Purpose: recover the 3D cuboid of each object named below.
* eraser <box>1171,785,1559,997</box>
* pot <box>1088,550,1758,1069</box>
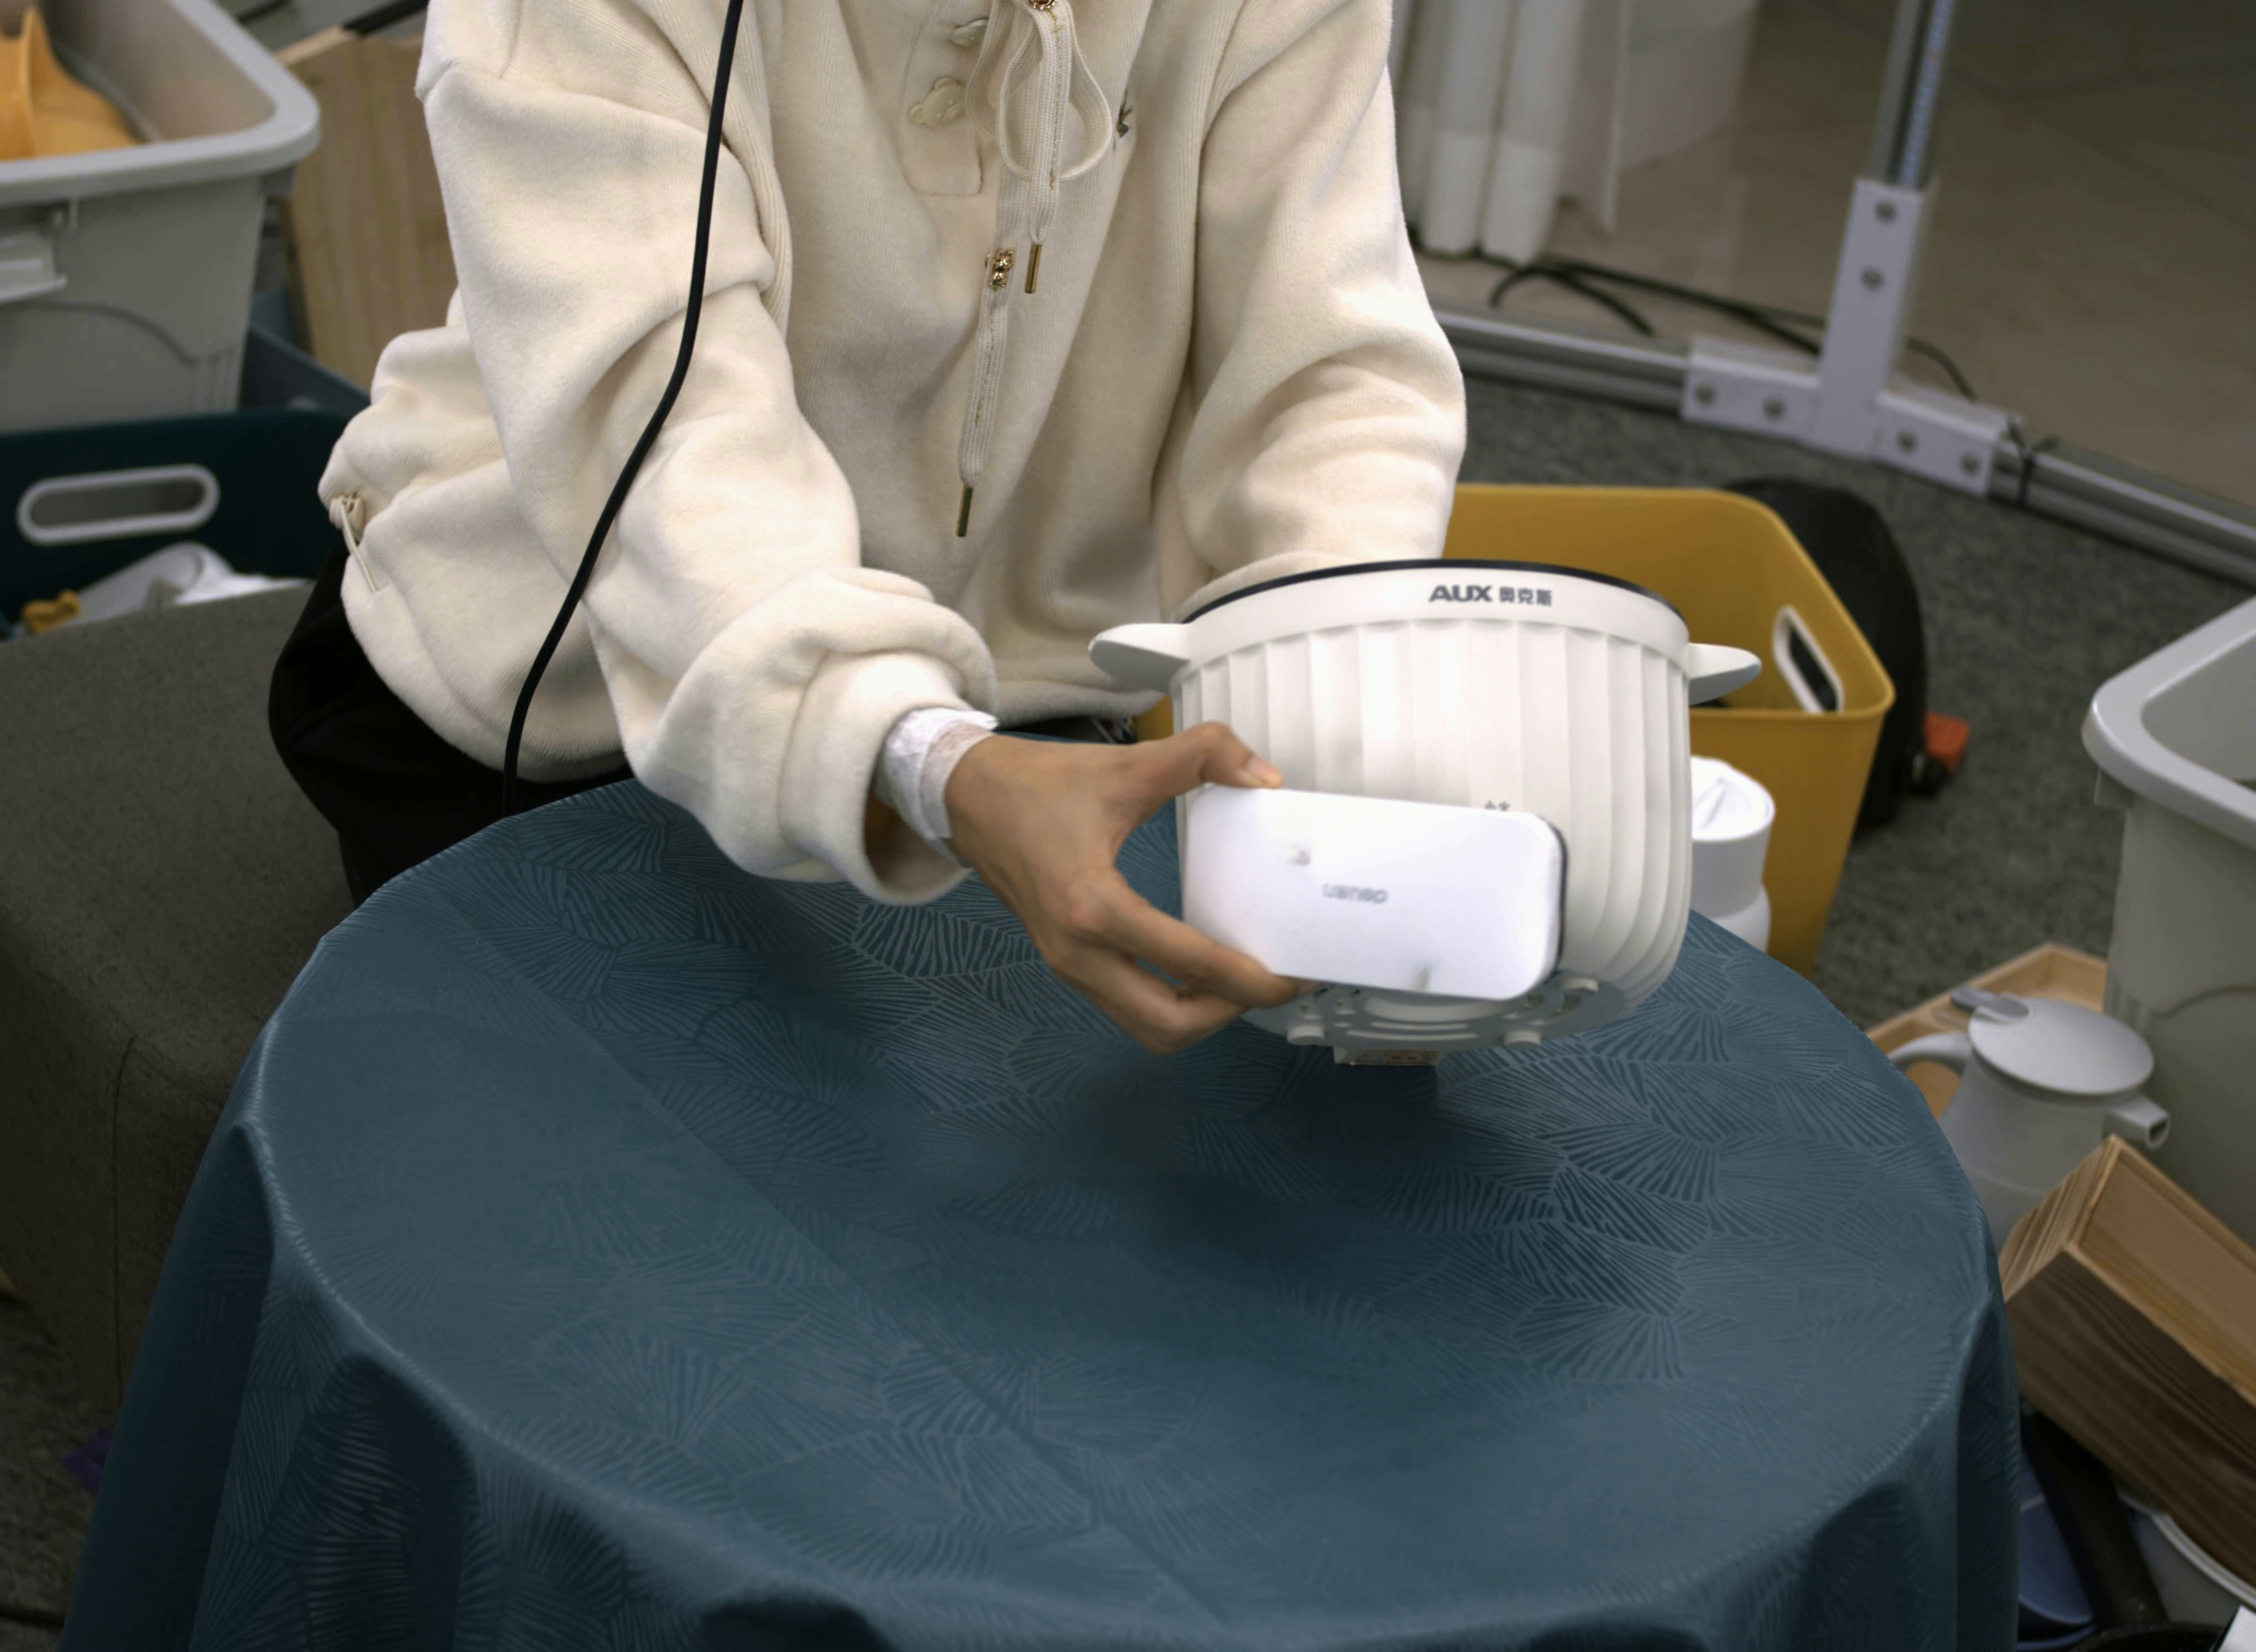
[{"bbox_3d":[0.076,0.019,1.730,0.132,0.063,0.034,6,4,28],"label":"eraser"},{"bbox_3d":[0.107,-0.003,1.832,0.239,0.190,0.143,1,70,-11],"label":"pot"}]
